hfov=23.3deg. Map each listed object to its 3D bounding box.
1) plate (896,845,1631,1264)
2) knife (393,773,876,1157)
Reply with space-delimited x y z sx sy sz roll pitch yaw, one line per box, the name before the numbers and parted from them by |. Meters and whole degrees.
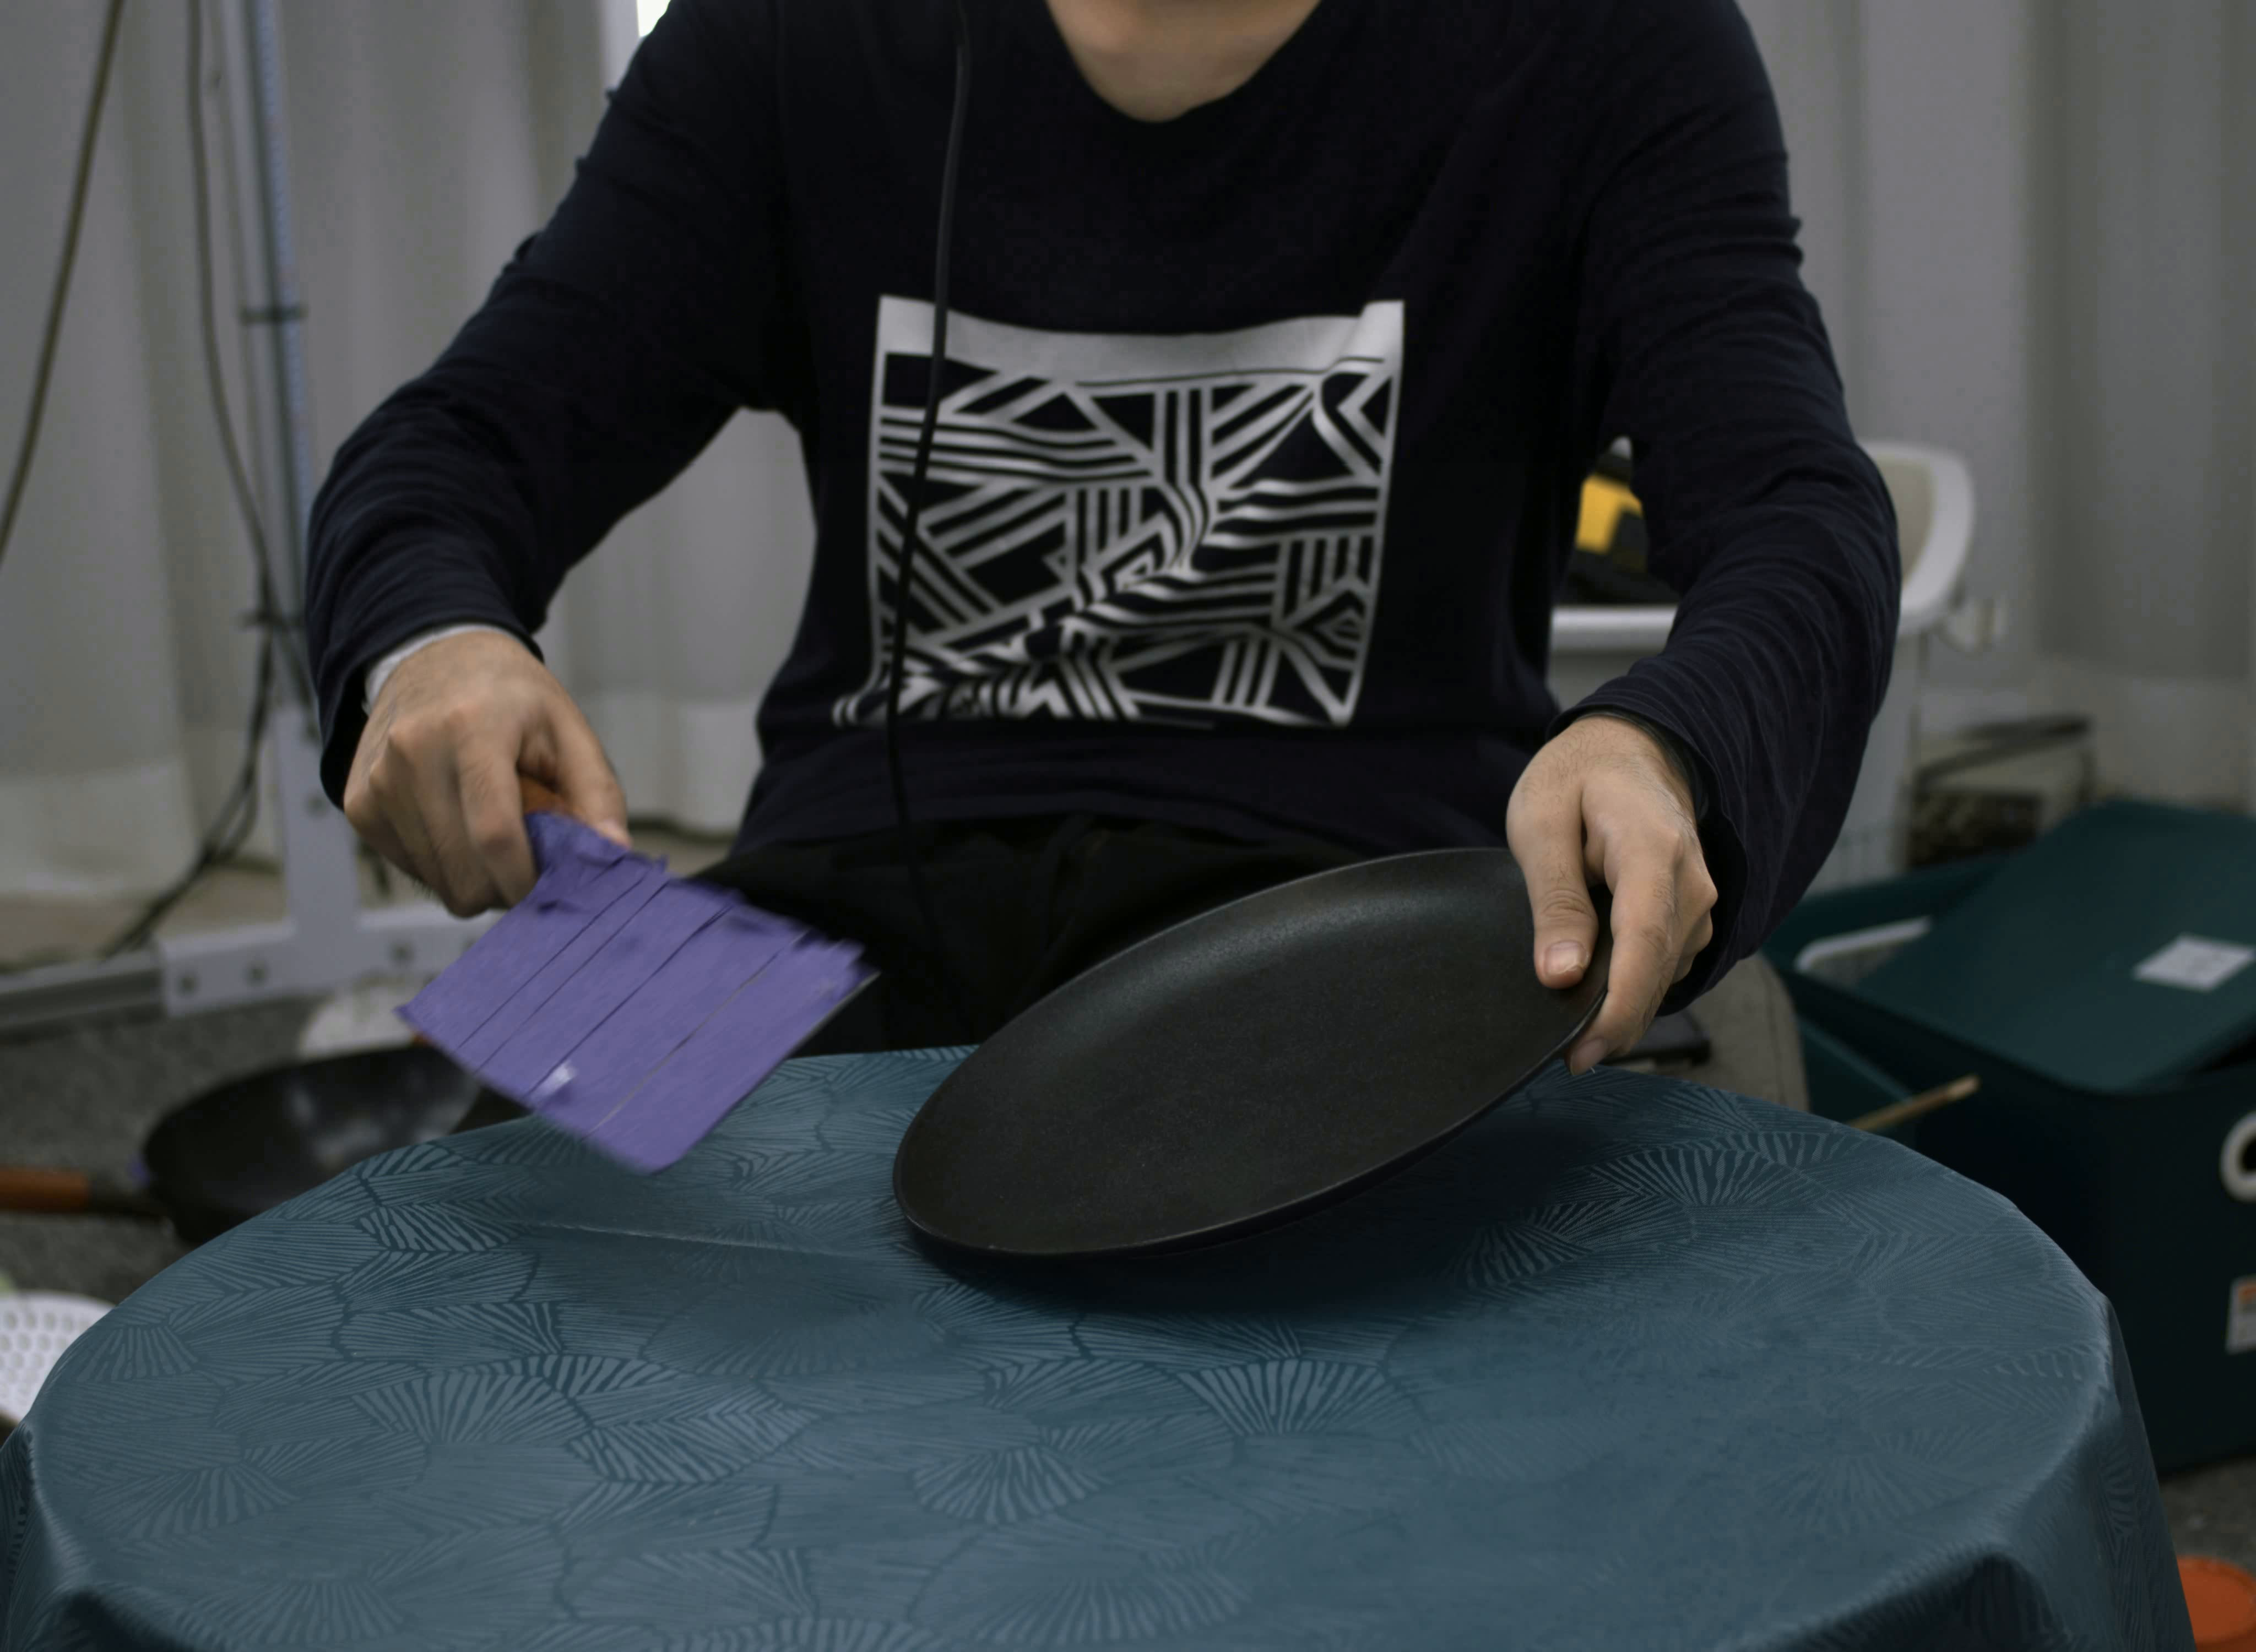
plate | 0.043 0.075 1.699 0.244 0.023 0.247 -21 20 7
knife | -0.182 0.040 1.721 0.104 0.032 0.317 -42 25 -15
